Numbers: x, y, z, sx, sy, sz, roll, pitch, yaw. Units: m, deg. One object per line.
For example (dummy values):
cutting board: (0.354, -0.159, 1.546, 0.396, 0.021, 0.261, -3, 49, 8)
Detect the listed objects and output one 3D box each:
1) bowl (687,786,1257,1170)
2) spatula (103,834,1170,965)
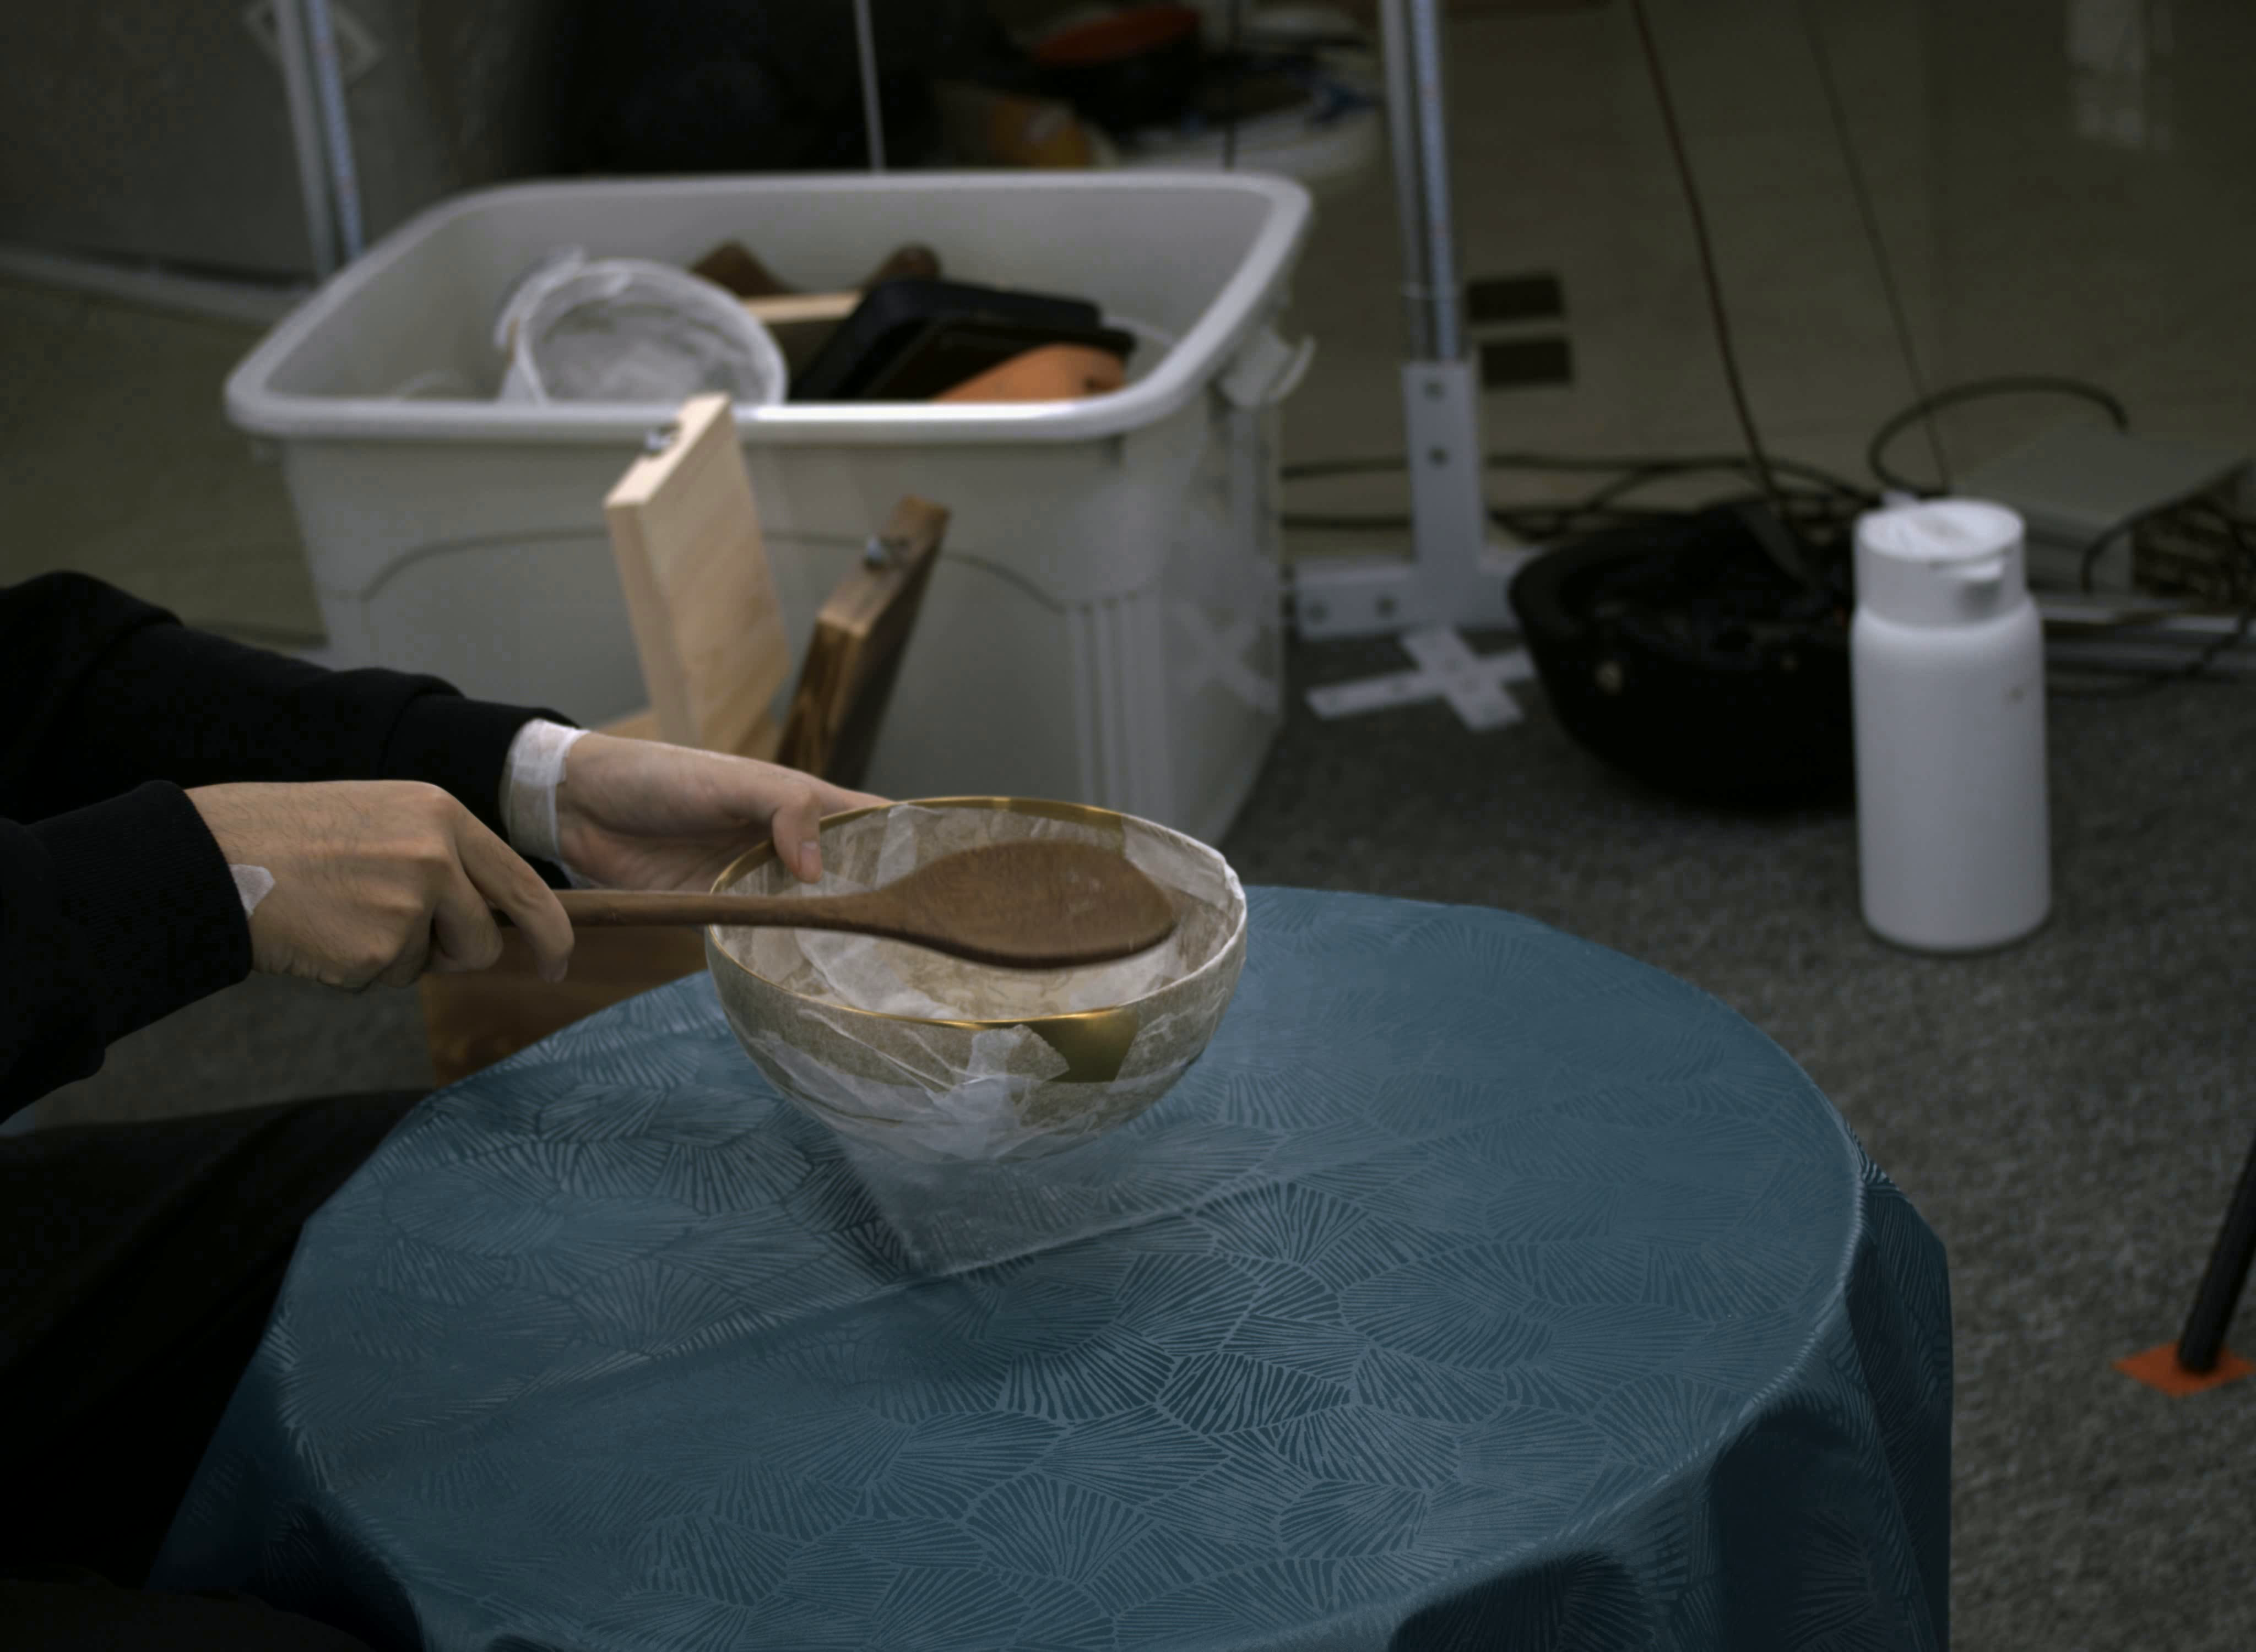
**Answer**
bowl: (-0.058, 0.068, 2.117, 0.214, 0.096, 0.211, -1, 26, 0)
spatula: (-0.172, 0.029, 2.020, 0.385, 0.016, 0.095, -1, 26, -19)
